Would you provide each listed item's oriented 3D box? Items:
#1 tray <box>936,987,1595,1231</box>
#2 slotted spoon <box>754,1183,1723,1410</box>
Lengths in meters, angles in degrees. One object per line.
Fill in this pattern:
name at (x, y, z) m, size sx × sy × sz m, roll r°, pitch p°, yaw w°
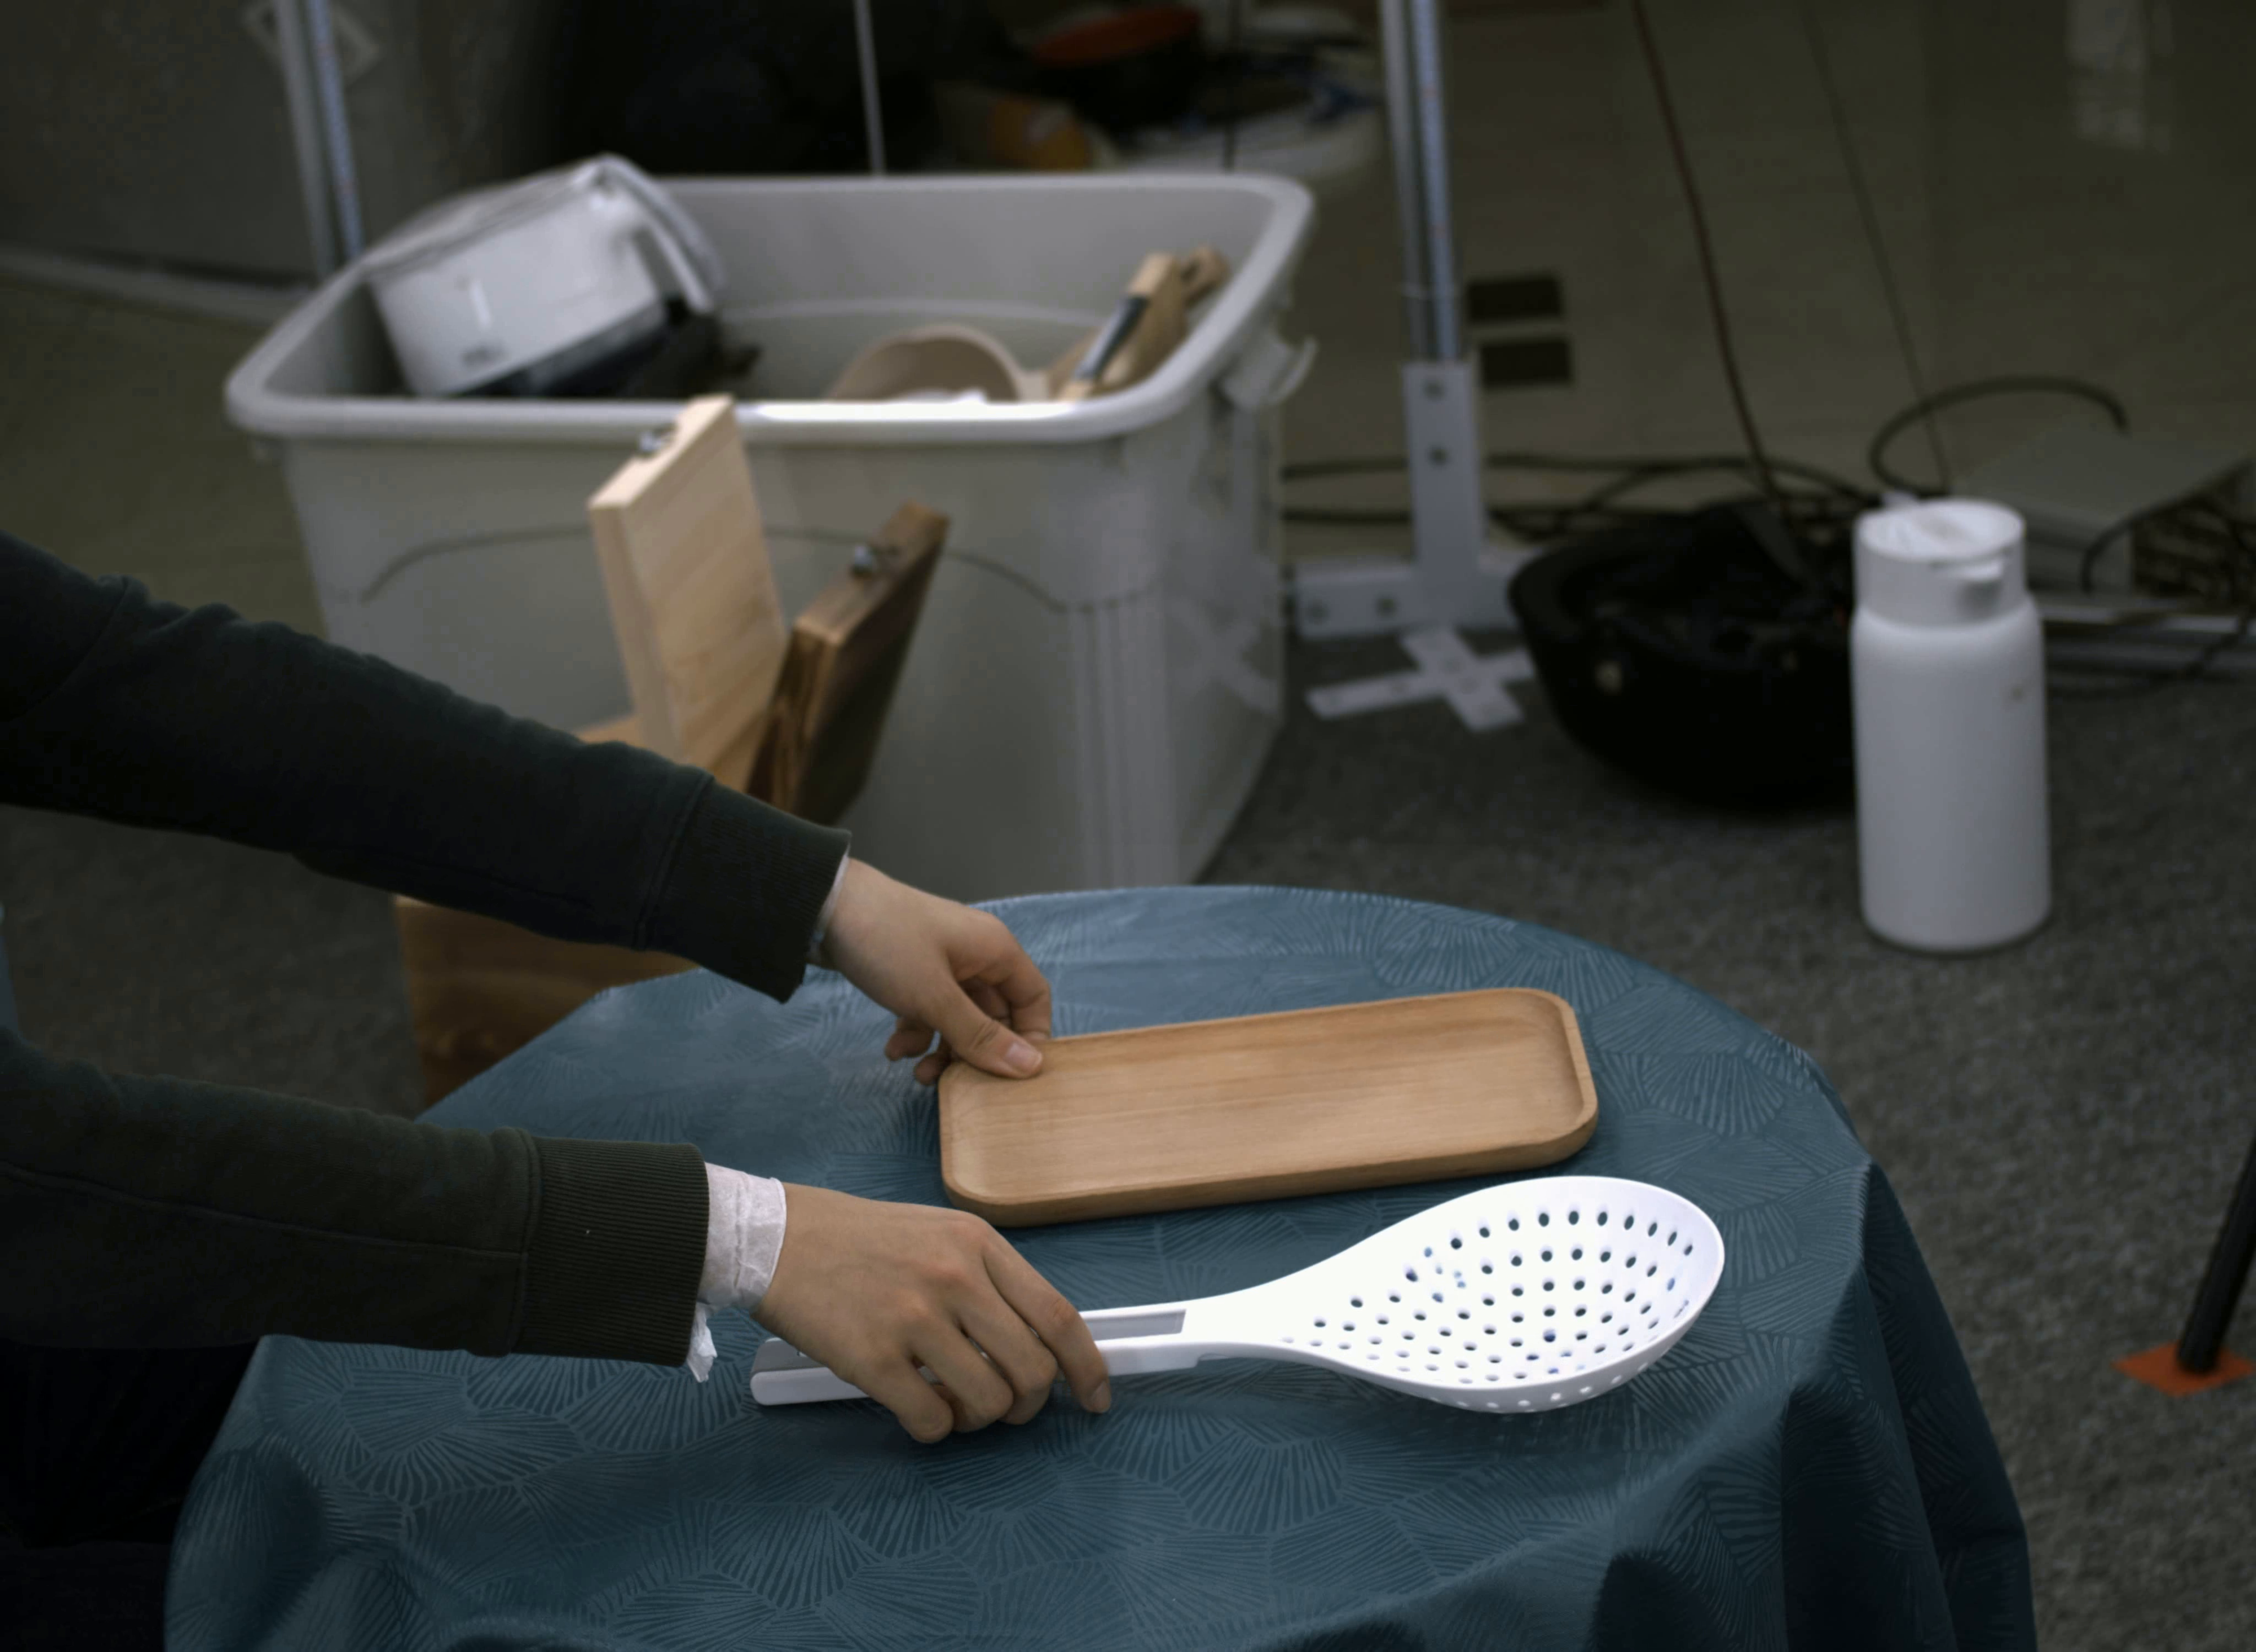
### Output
tray at (0.051, 0.109, 2.182) m, size 0.250 × 0.023 × 0.128 m, roll -7°, pitch 24°, yaw 1°
slotted spoon at (0.037, 0.178, 2.006) m, size 0.349 × 0.046 × 0.134 m, roll -3°, pitch 26°, yaw 10°
